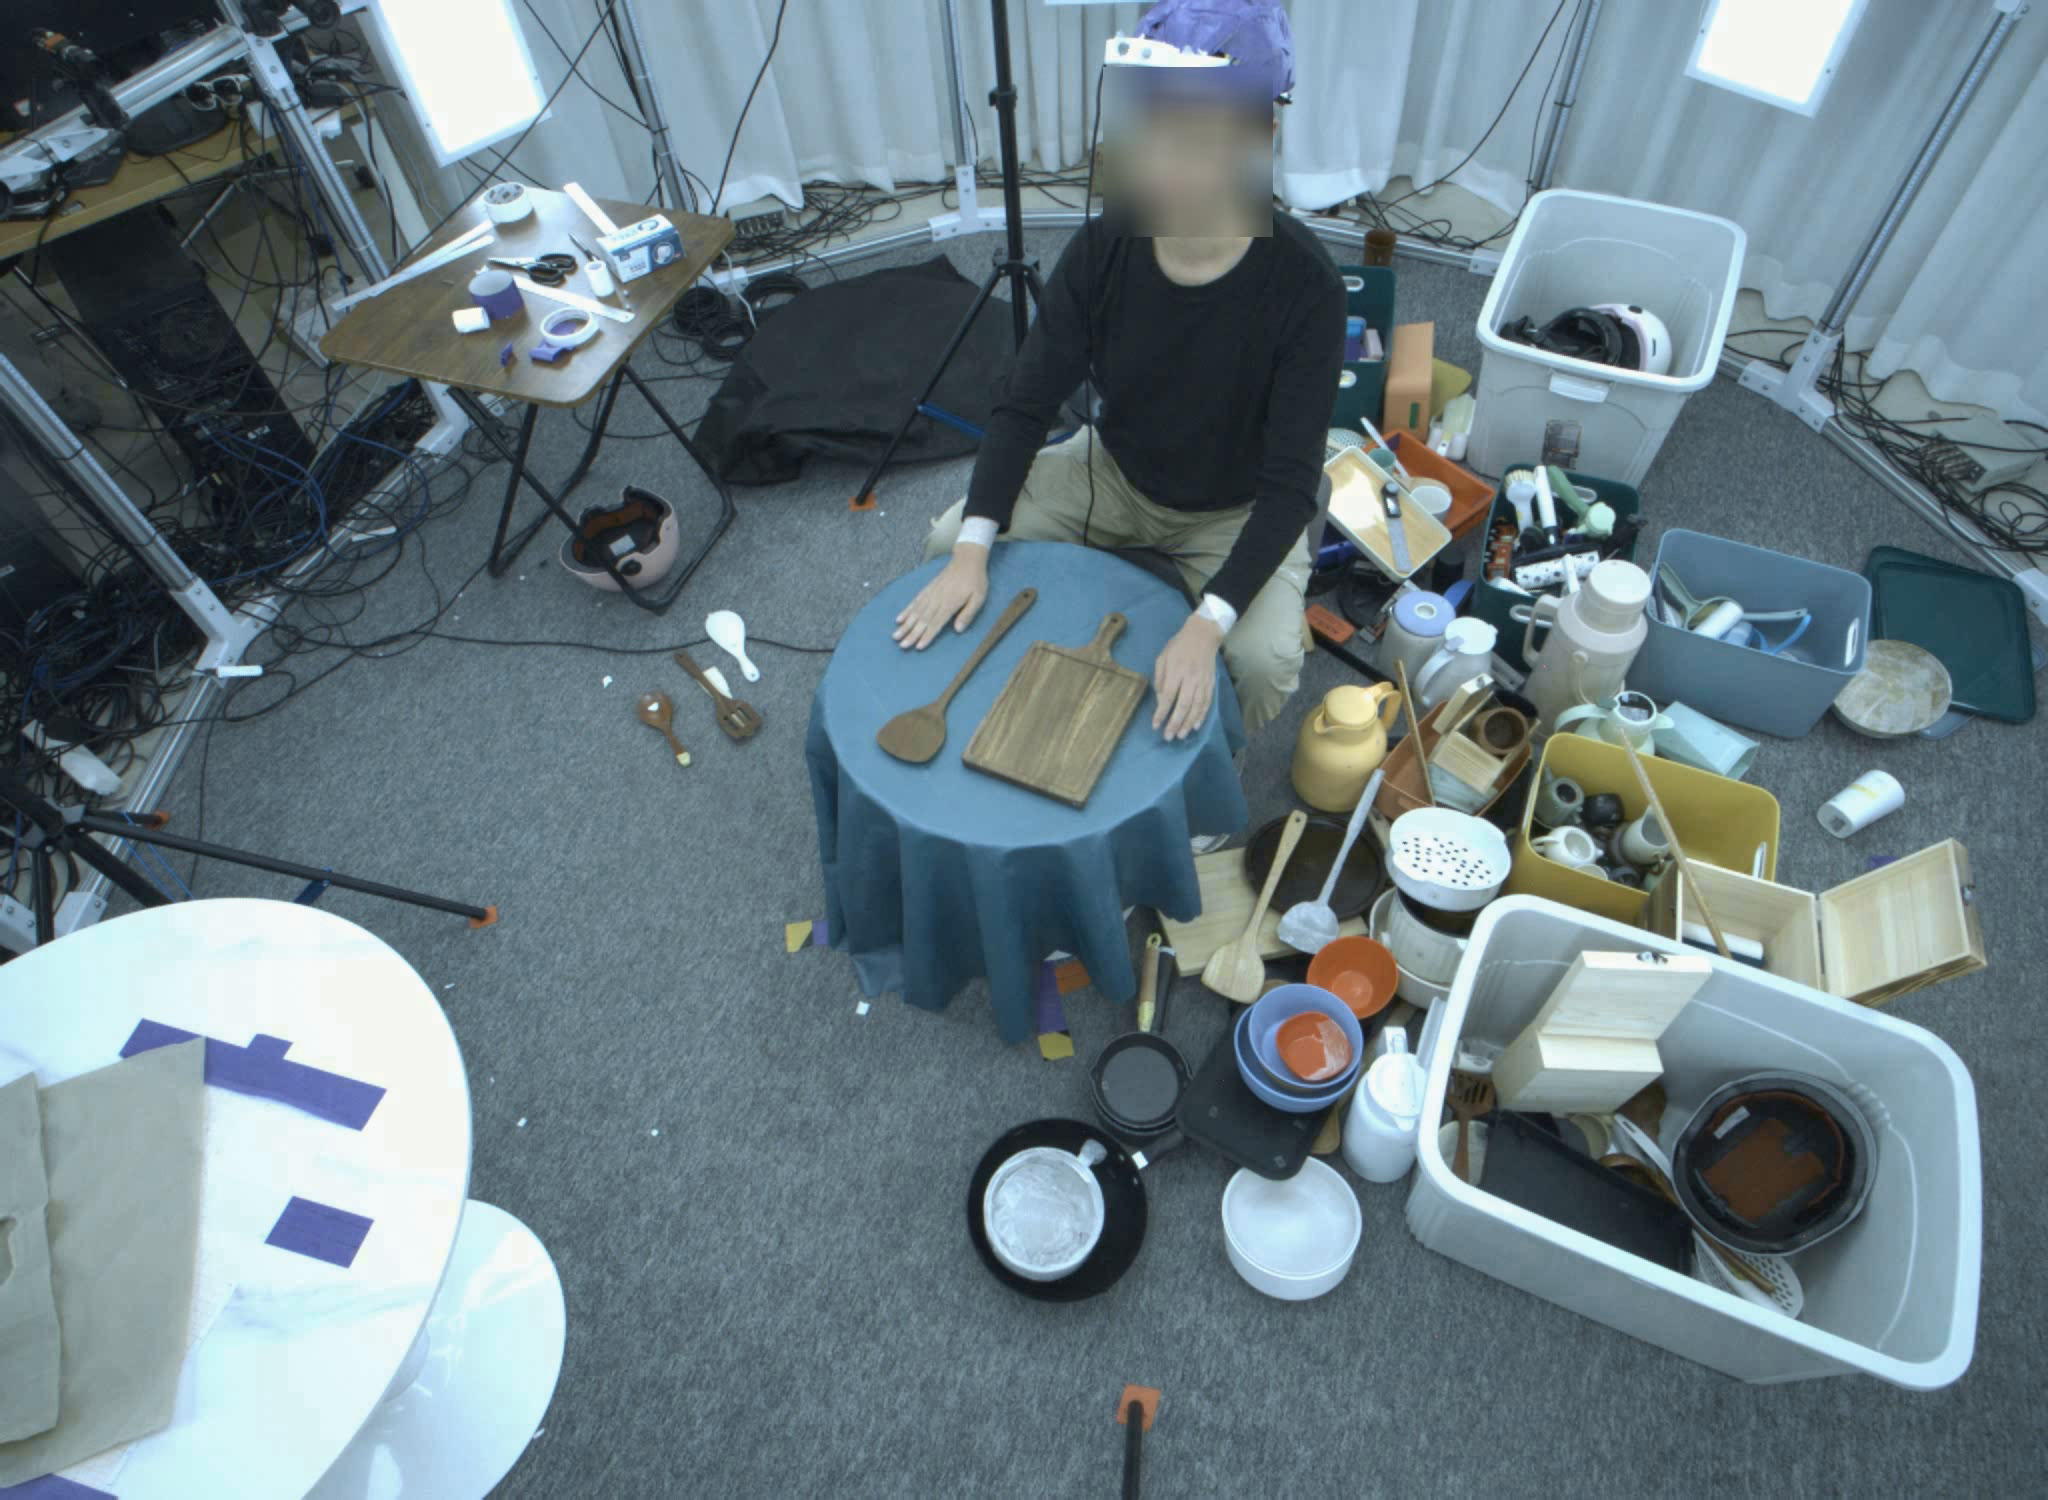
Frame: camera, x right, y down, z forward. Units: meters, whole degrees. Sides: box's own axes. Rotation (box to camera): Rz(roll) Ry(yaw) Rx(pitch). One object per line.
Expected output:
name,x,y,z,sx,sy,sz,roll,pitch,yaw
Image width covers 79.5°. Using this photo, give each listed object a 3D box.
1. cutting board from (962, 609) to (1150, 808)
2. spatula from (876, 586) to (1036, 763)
cutting board,0.071,-0.081,1.830,0.199,0.023,0.352,21,58,15
spatula,-0.087,-0.126,1.871,0.095,0.016,0.387,25,59,18
